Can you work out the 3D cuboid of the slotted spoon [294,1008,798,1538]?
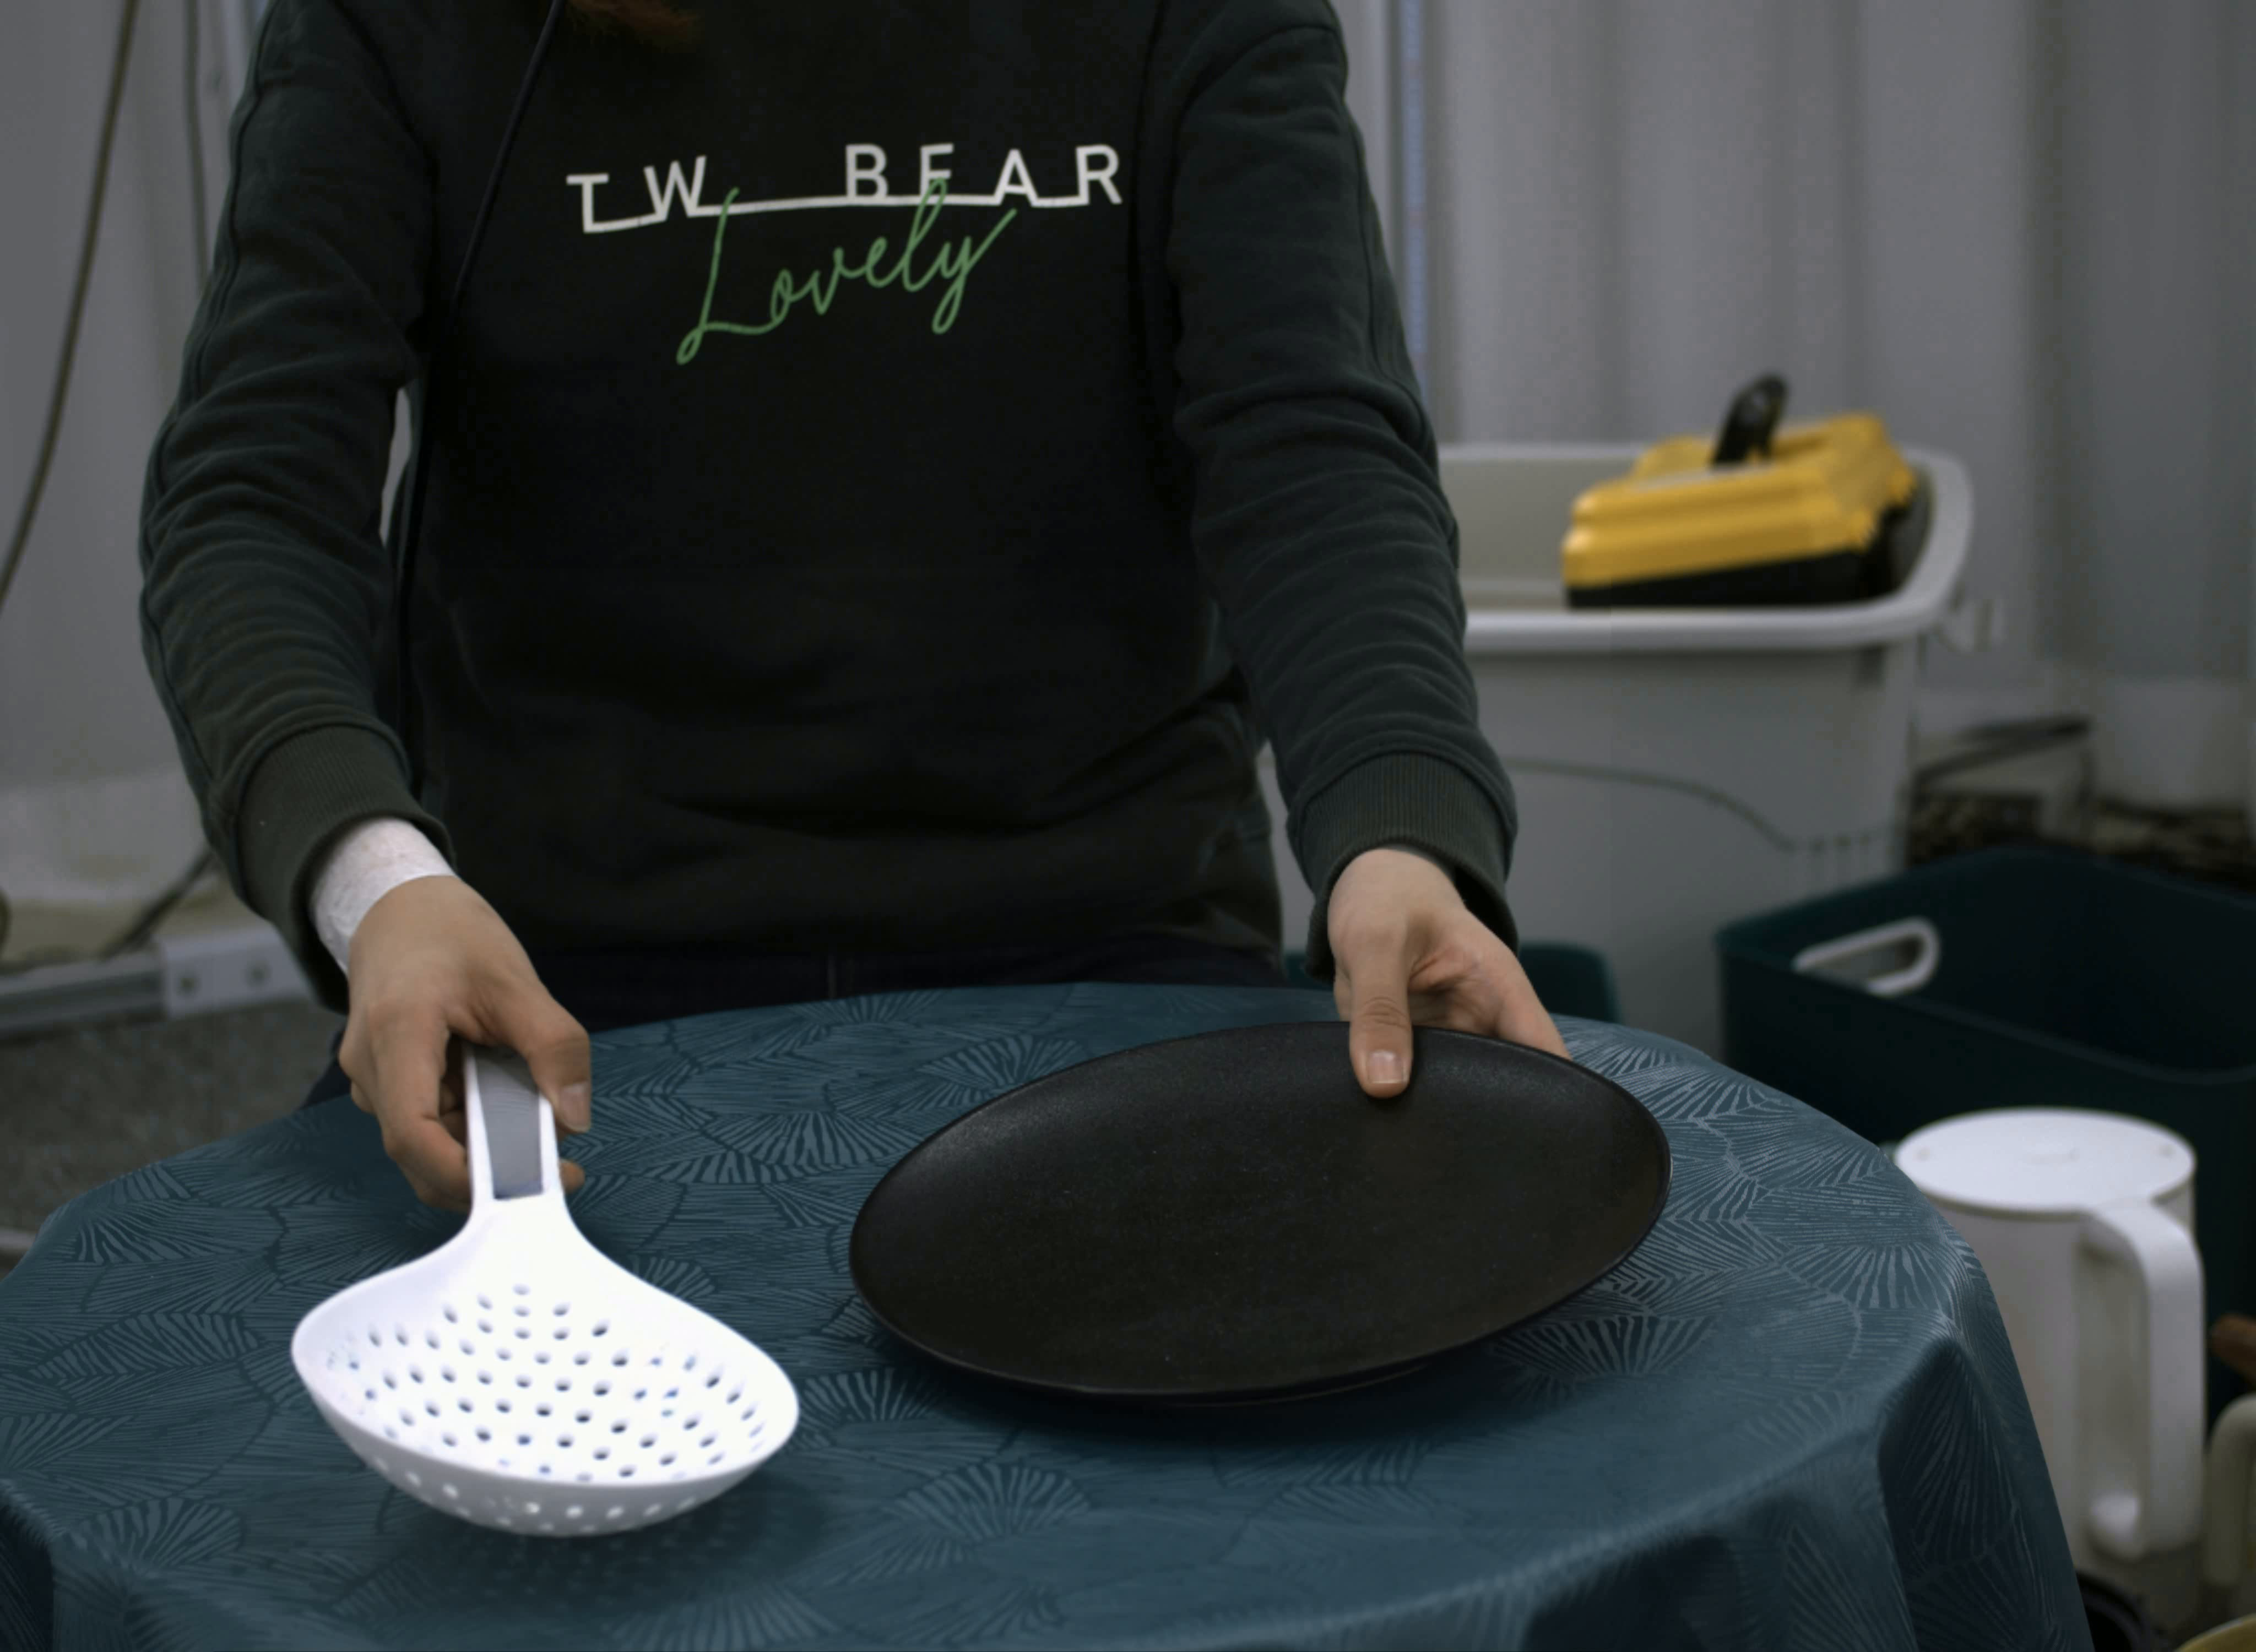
[{"bbox_3d":[-0.172,0.119,1.564,0.135,0.045,0.353,8,21,-11],"label":"slotted spoon"}]

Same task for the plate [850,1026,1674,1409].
[{"bbox_3d":[0.040,0.118,1.604,0.243,0.023,0.247,-7,21,2],"label":"plate"}]
